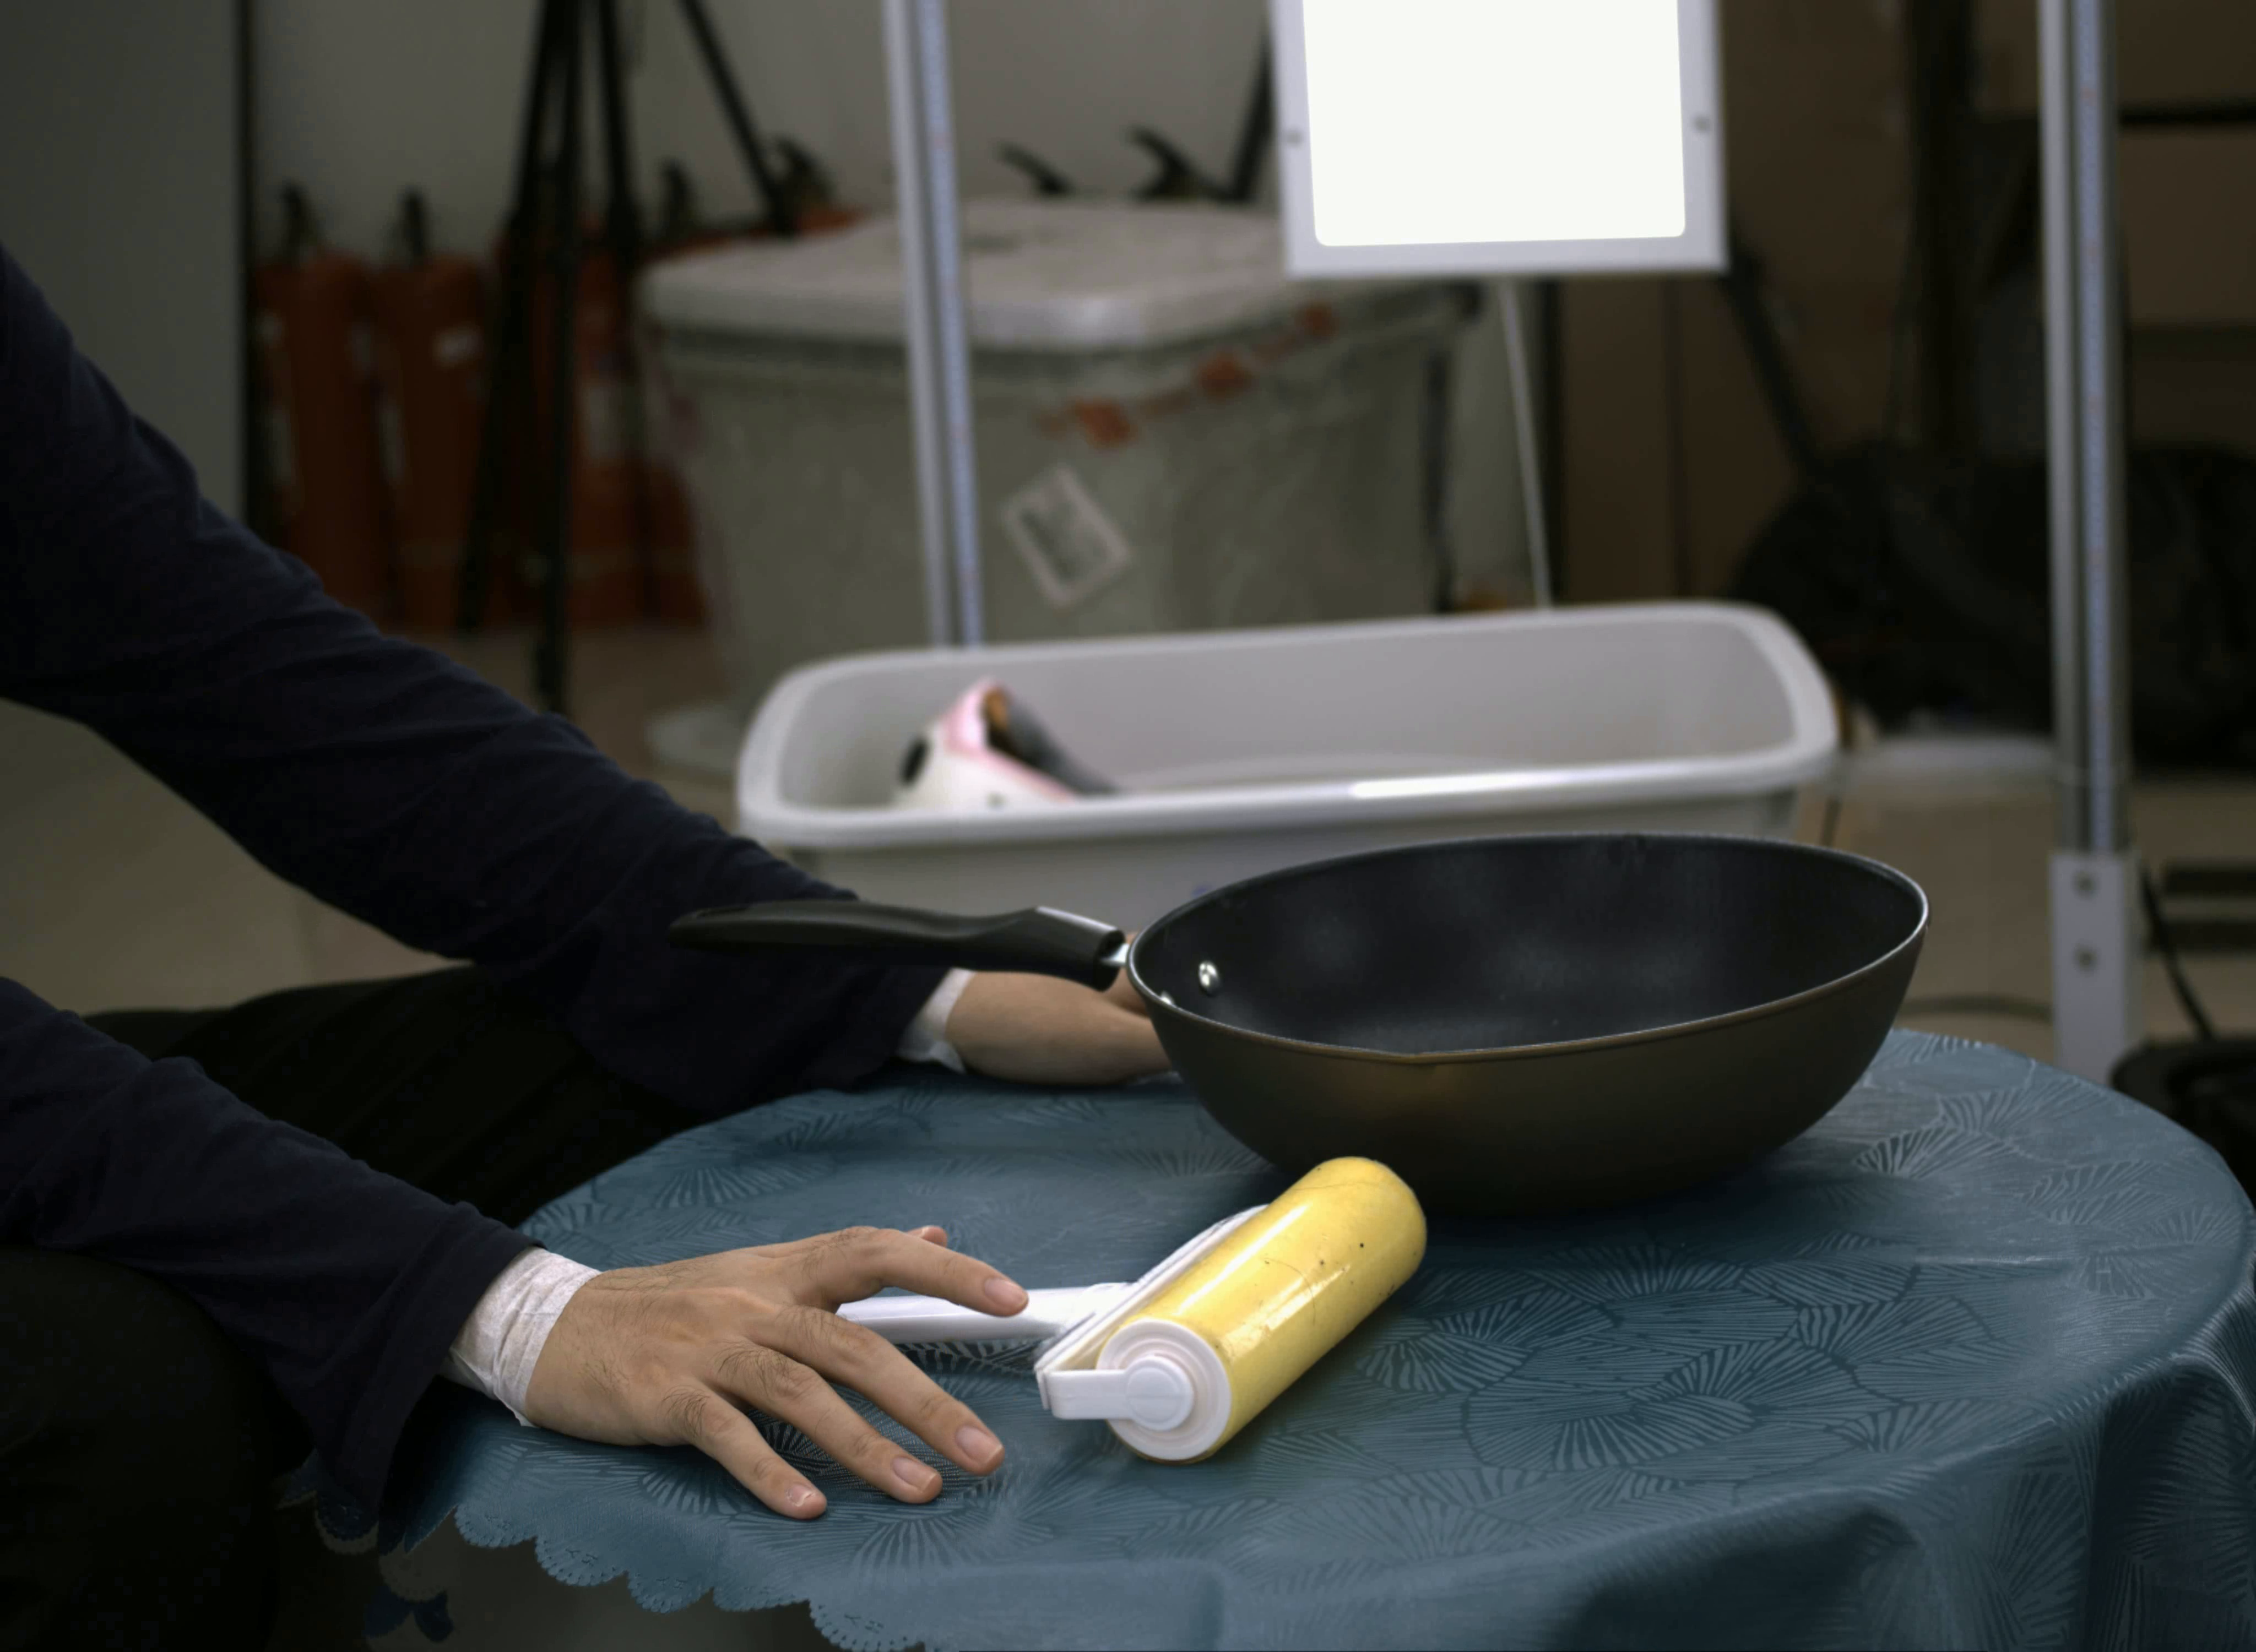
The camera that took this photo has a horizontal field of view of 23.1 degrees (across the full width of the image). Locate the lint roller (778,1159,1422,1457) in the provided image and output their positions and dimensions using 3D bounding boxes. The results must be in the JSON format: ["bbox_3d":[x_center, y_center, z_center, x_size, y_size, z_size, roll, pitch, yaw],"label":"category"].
[{"bbox_3d":[-0.025,0.147,1.729,0.195,0.051,0.171,2,15,25],"label":"lint roller"}]

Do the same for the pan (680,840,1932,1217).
[{"bbox_3d":[0.054,0.072,1.931,0.470,0.087,0.283,0,14,23],"label":"pan"}]
